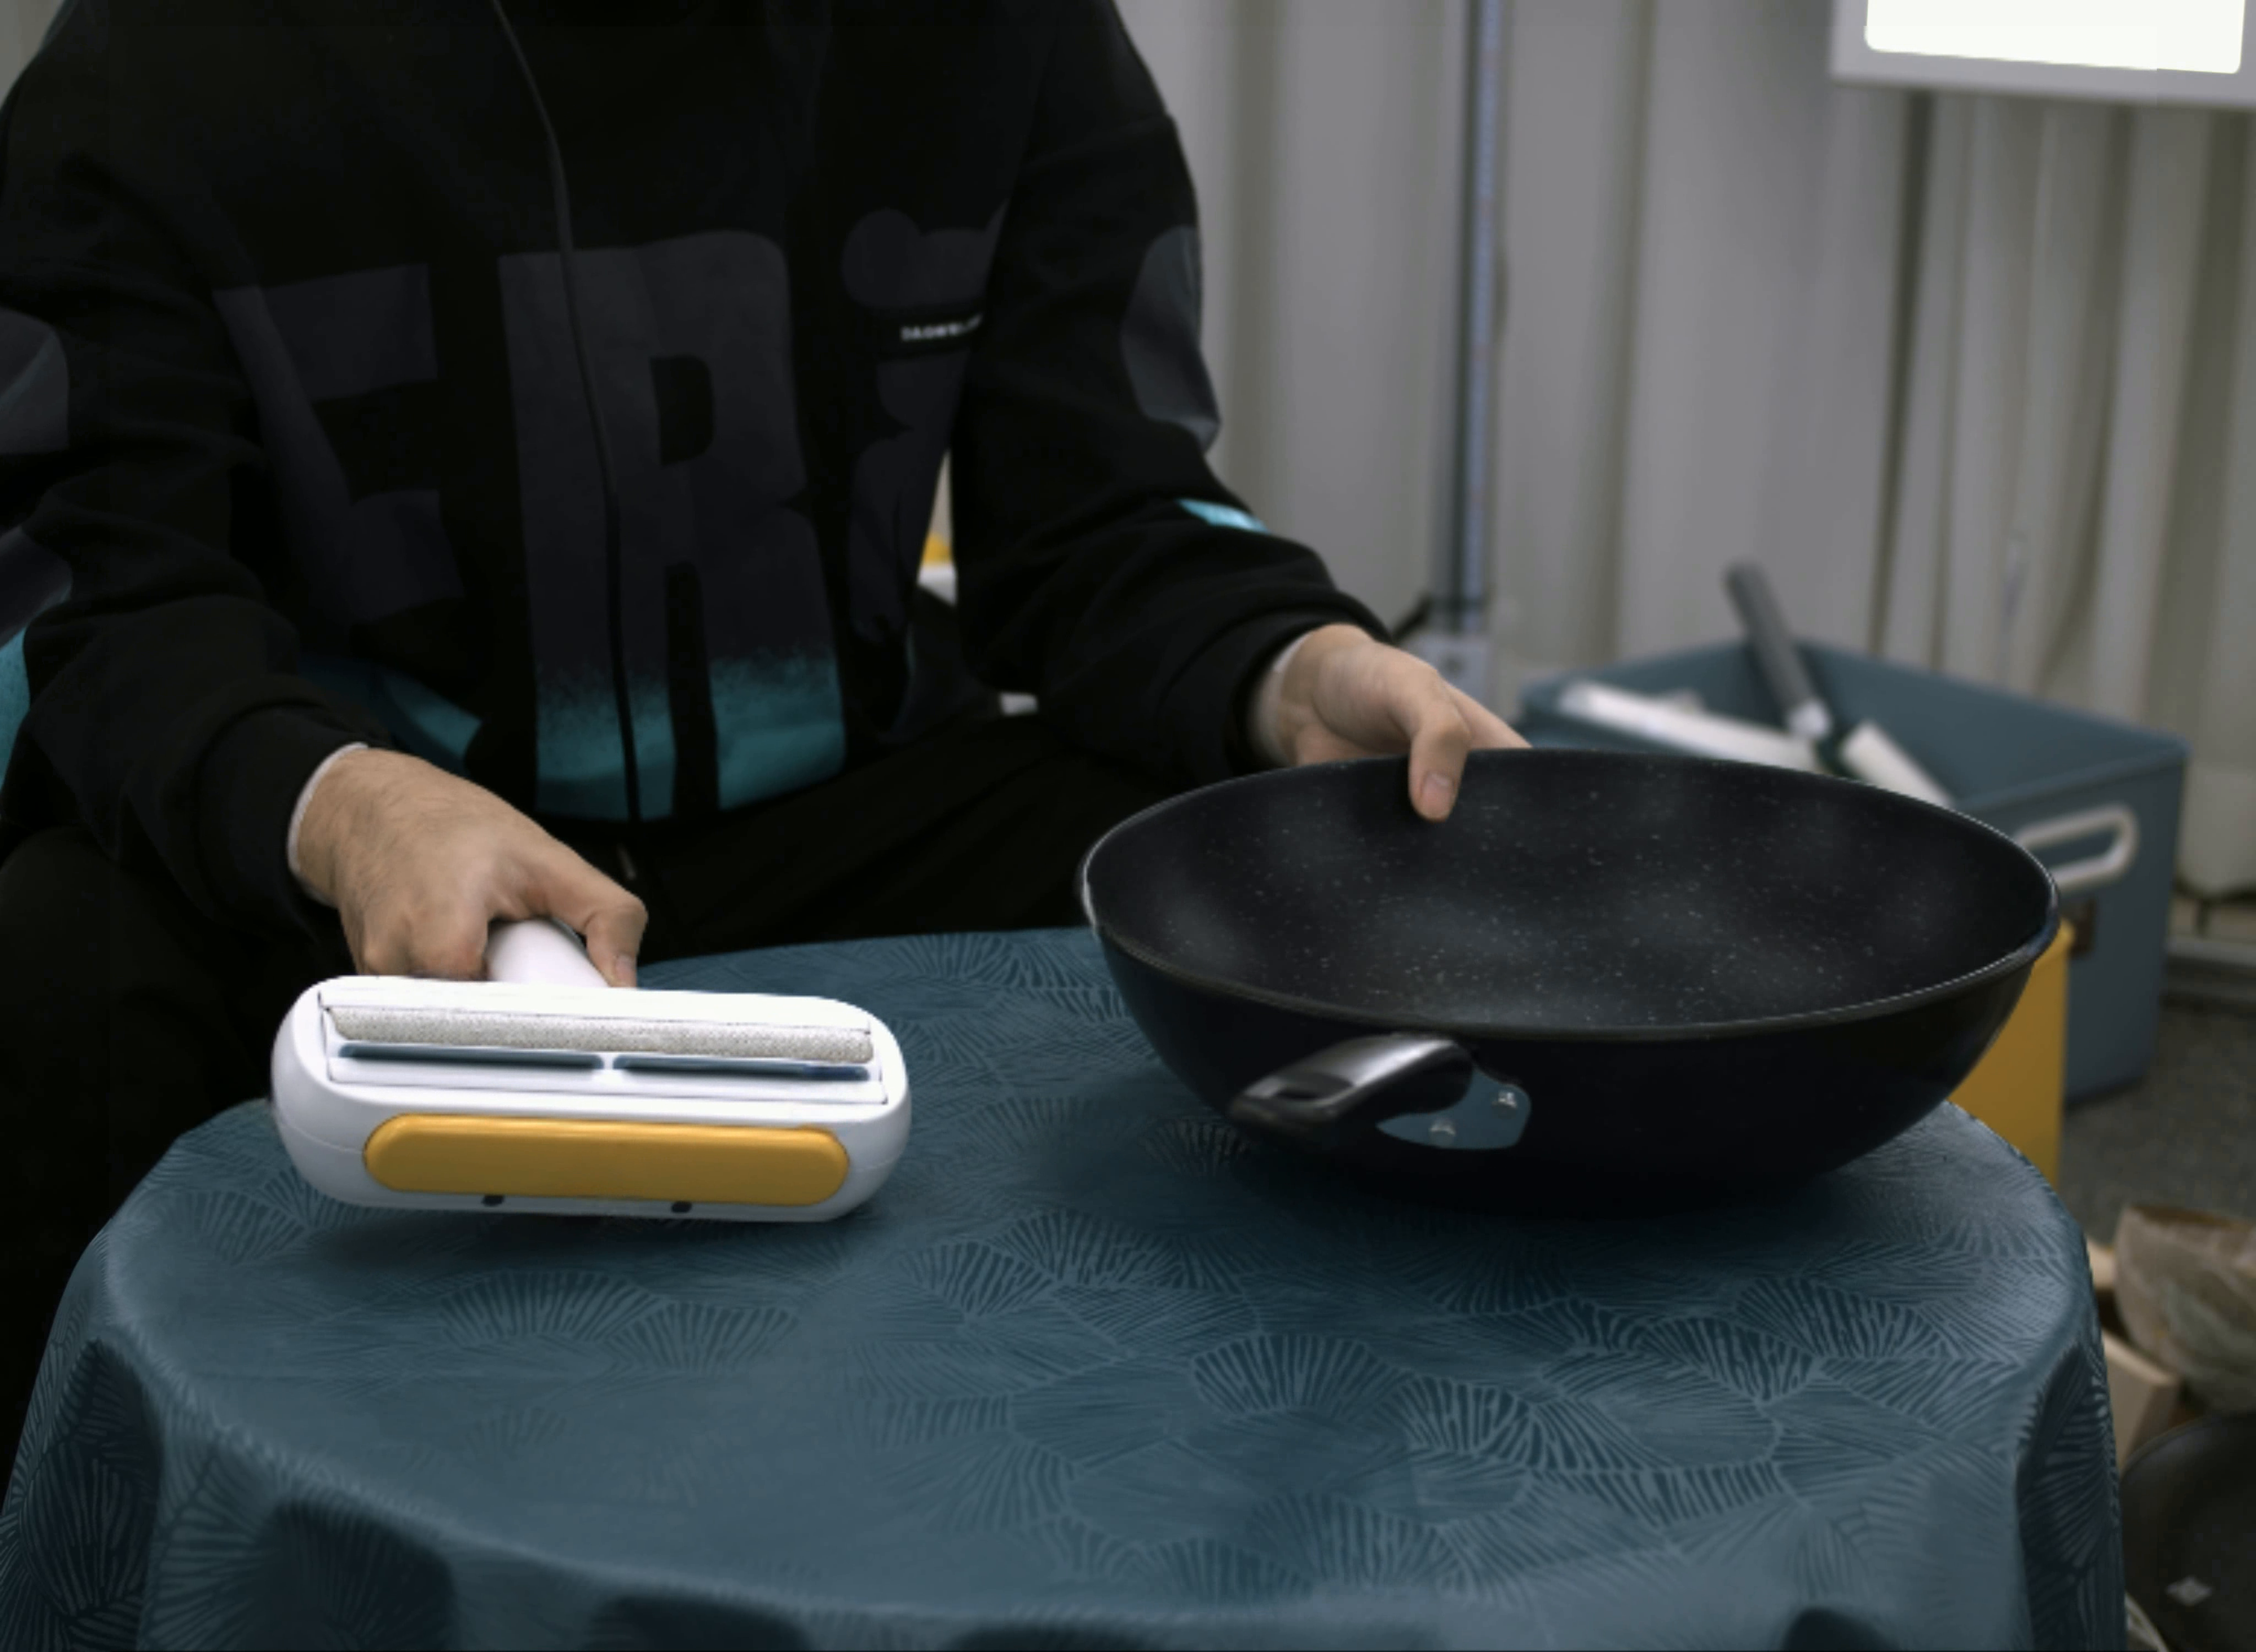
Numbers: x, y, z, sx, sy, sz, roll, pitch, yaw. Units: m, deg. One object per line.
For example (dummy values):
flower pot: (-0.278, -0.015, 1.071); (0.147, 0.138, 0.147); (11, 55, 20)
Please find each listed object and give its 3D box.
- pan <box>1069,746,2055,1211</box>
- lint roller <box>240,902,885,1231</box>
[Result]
pan: (0.112, 0.065, 1.590); (0.307, 0.112, 0.477); (3, 16, 16)
lint roller: (-0.179, 0.061, 1.626); (0.193, 0.075, 0.190); (1, 28, -12)
